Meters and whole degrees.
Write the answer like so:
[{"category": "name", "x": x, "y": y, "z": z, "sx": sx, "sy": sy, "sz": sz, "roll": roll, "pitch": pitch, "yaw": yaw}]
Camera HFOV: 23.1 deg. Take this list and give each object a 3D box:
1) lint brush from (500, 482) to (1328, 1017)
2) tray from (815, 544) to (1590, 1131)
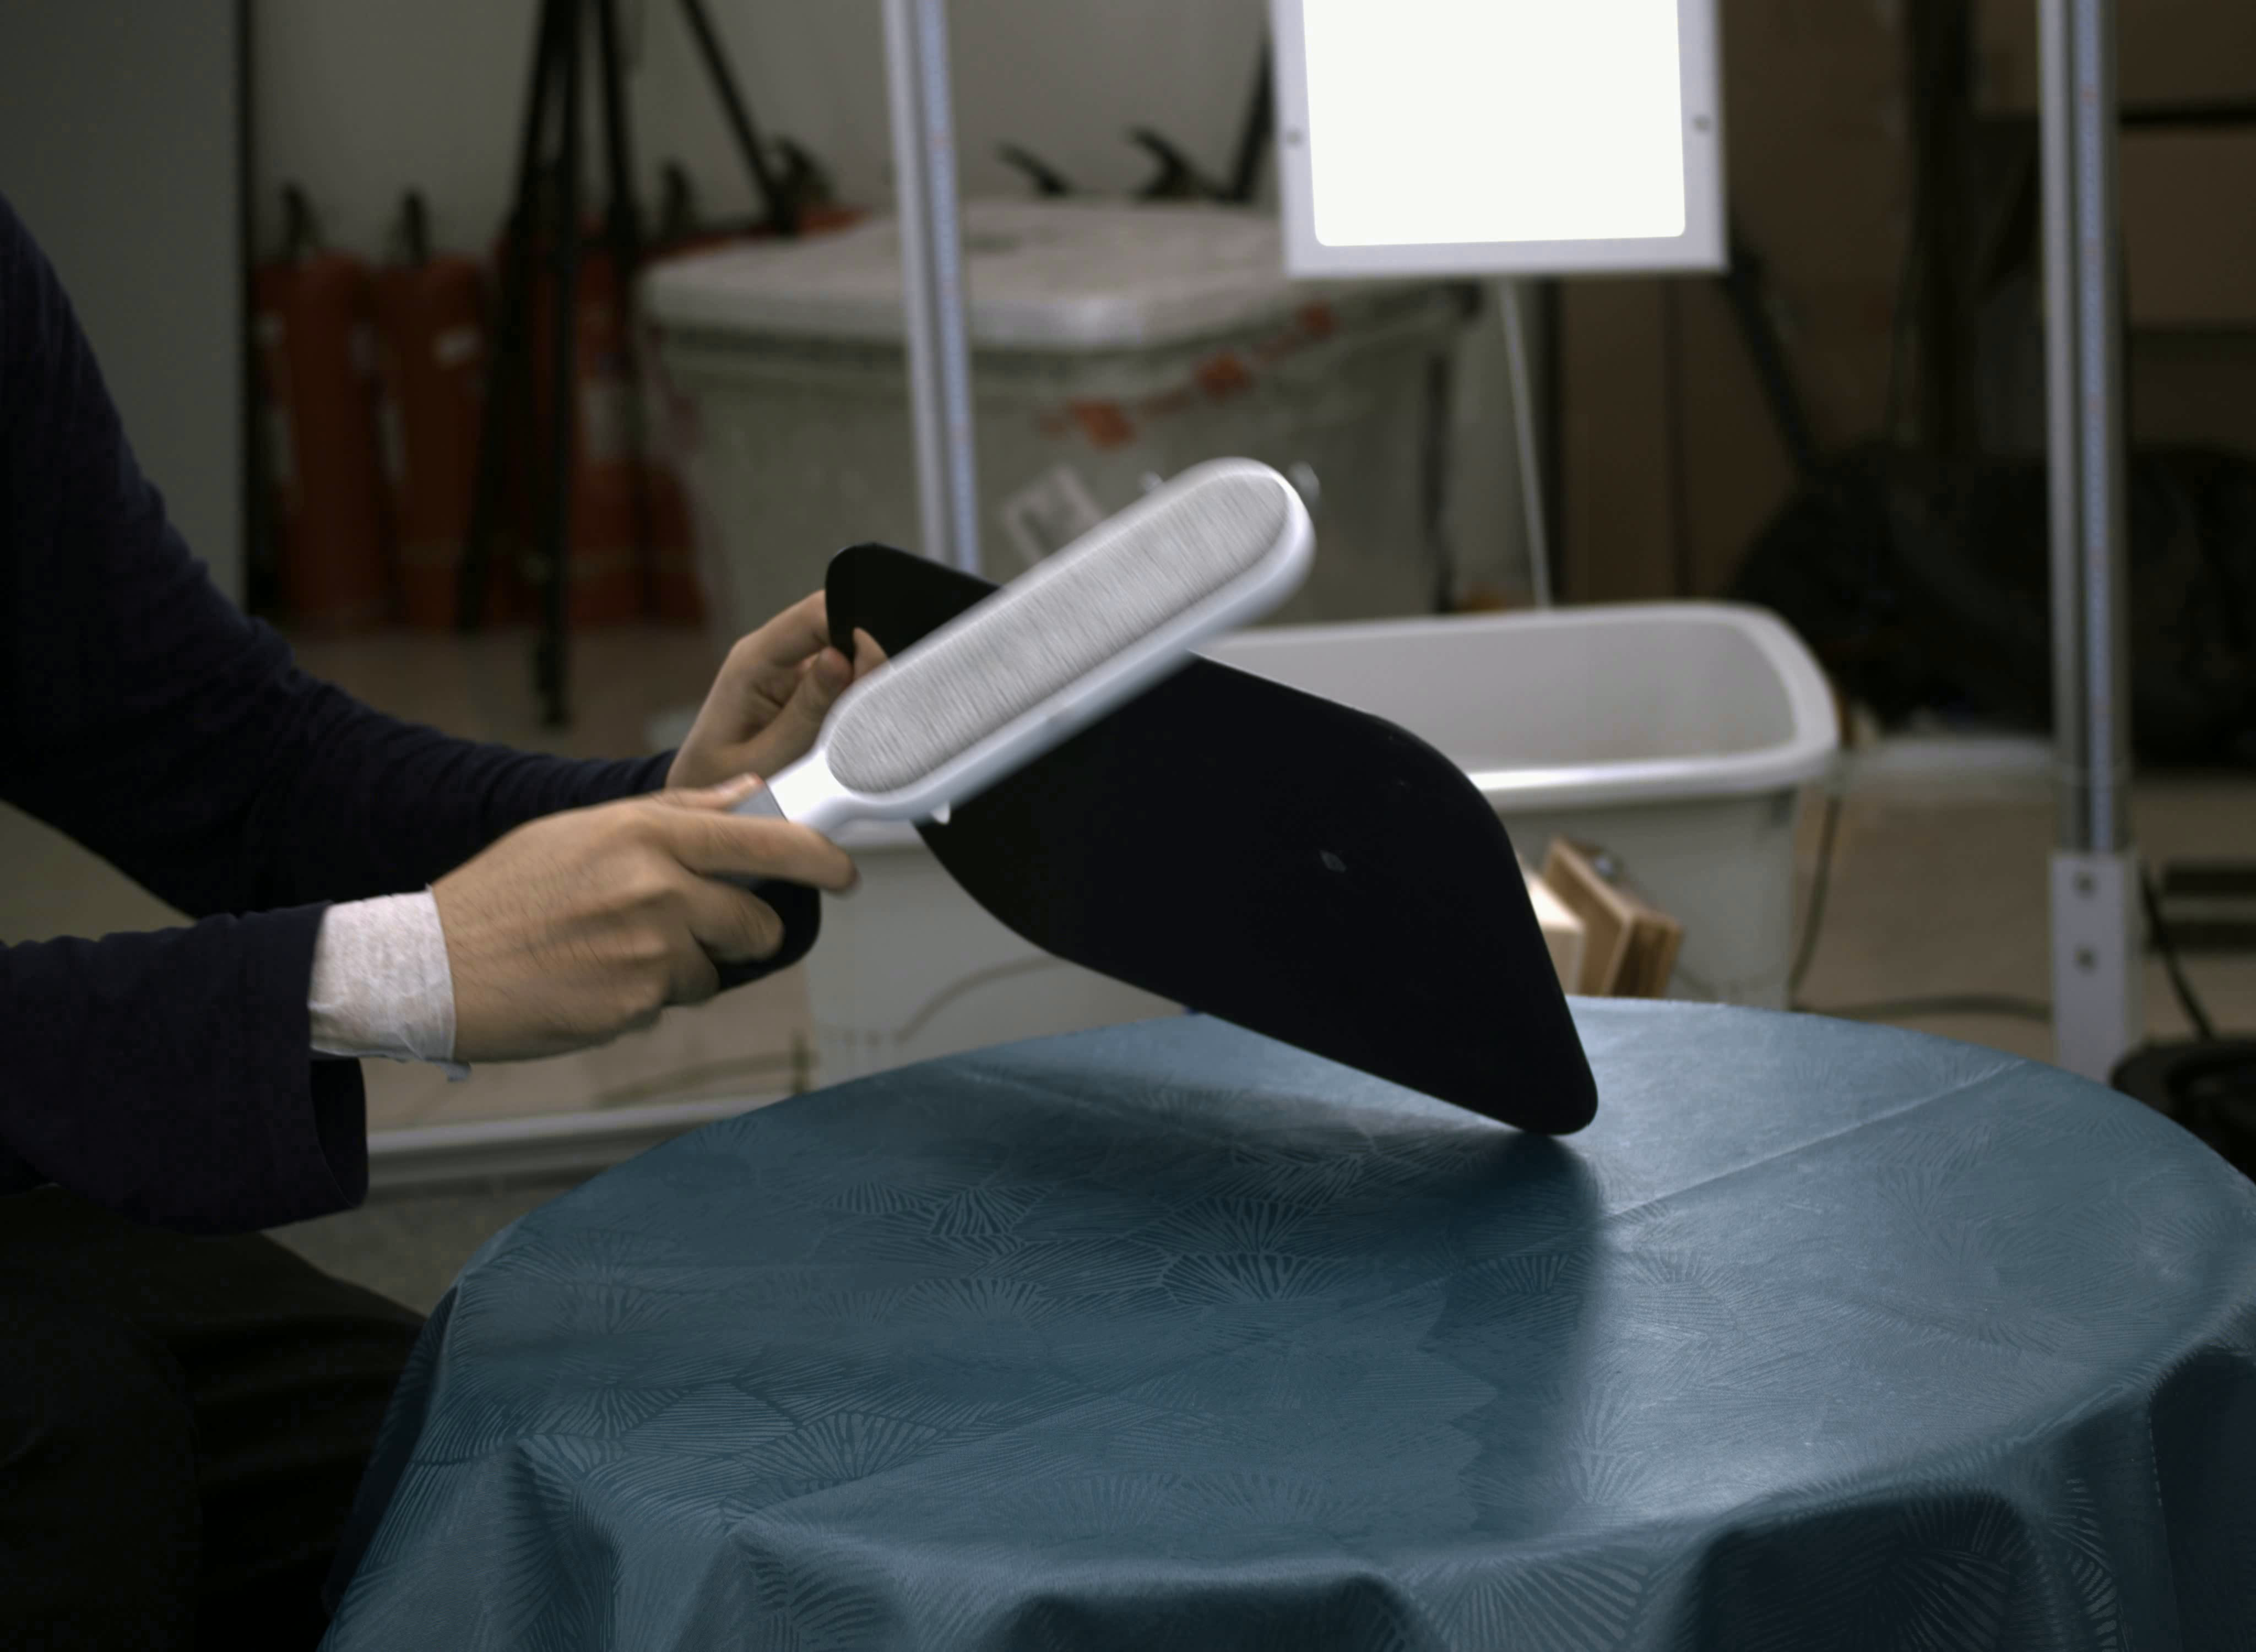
[{"category": "lint brush", "x": -0.071, "y": -0.023, "z": 1.791, "sx": 0.309, "sy": 0.021, "sz": 0.060, "roll": -30, "pitch": 52, "yaw": 5}, {"category": "tray", "x": 0.019, "y": -0.001, "z": 1.938, "sx": 0.332, "sy": 0.210, "sz": 0.009, "roll": 20, "pitch": 57, "yaw": 39}]
